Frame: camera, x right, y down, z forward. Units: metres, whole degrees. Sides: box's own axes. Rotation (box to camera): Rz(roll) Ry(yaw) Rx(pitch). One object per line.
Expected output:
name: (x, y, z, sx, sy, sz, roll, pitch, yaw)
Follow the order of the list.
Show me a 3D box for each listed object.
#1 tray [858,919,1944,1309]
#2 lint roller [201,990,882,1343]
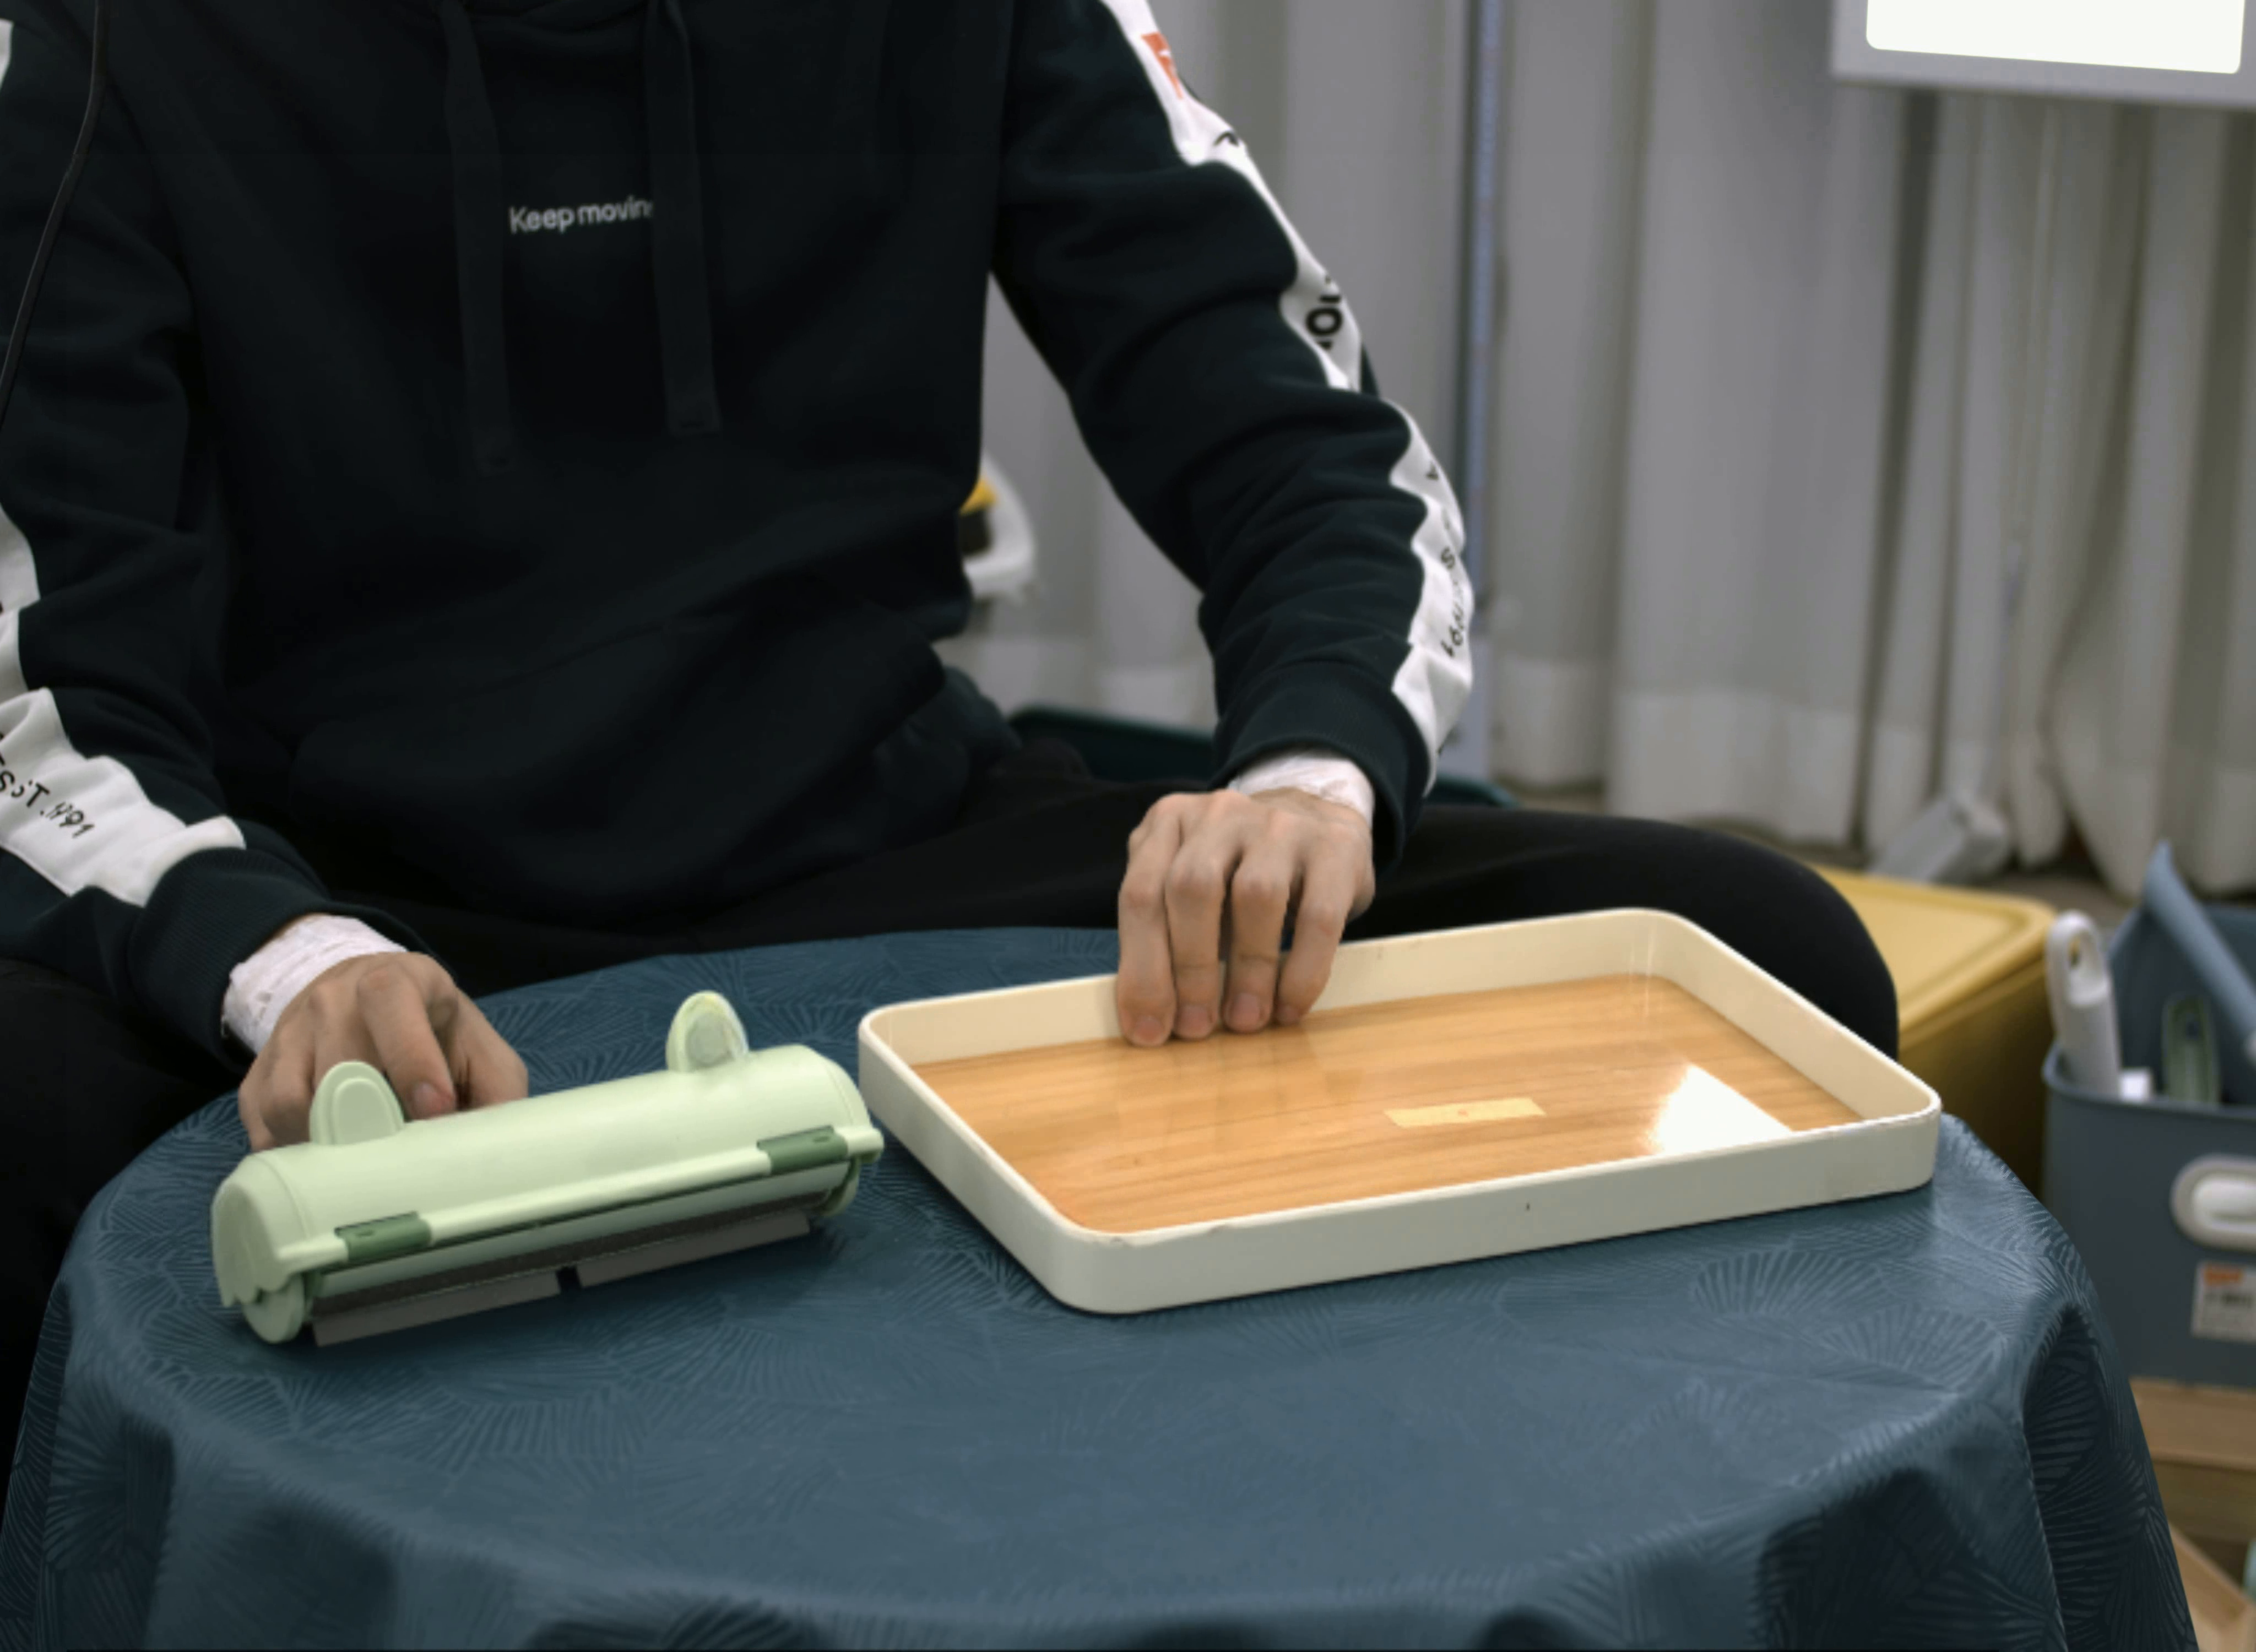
tray: (0.083, 0.086, 1.643, 0.301, 0.027, 0.189, -6, 20, -24)
lint roller: (-0.199, 0.083, 1.571, 0.199, 0.083, 0.181, -10, 23, -31)
